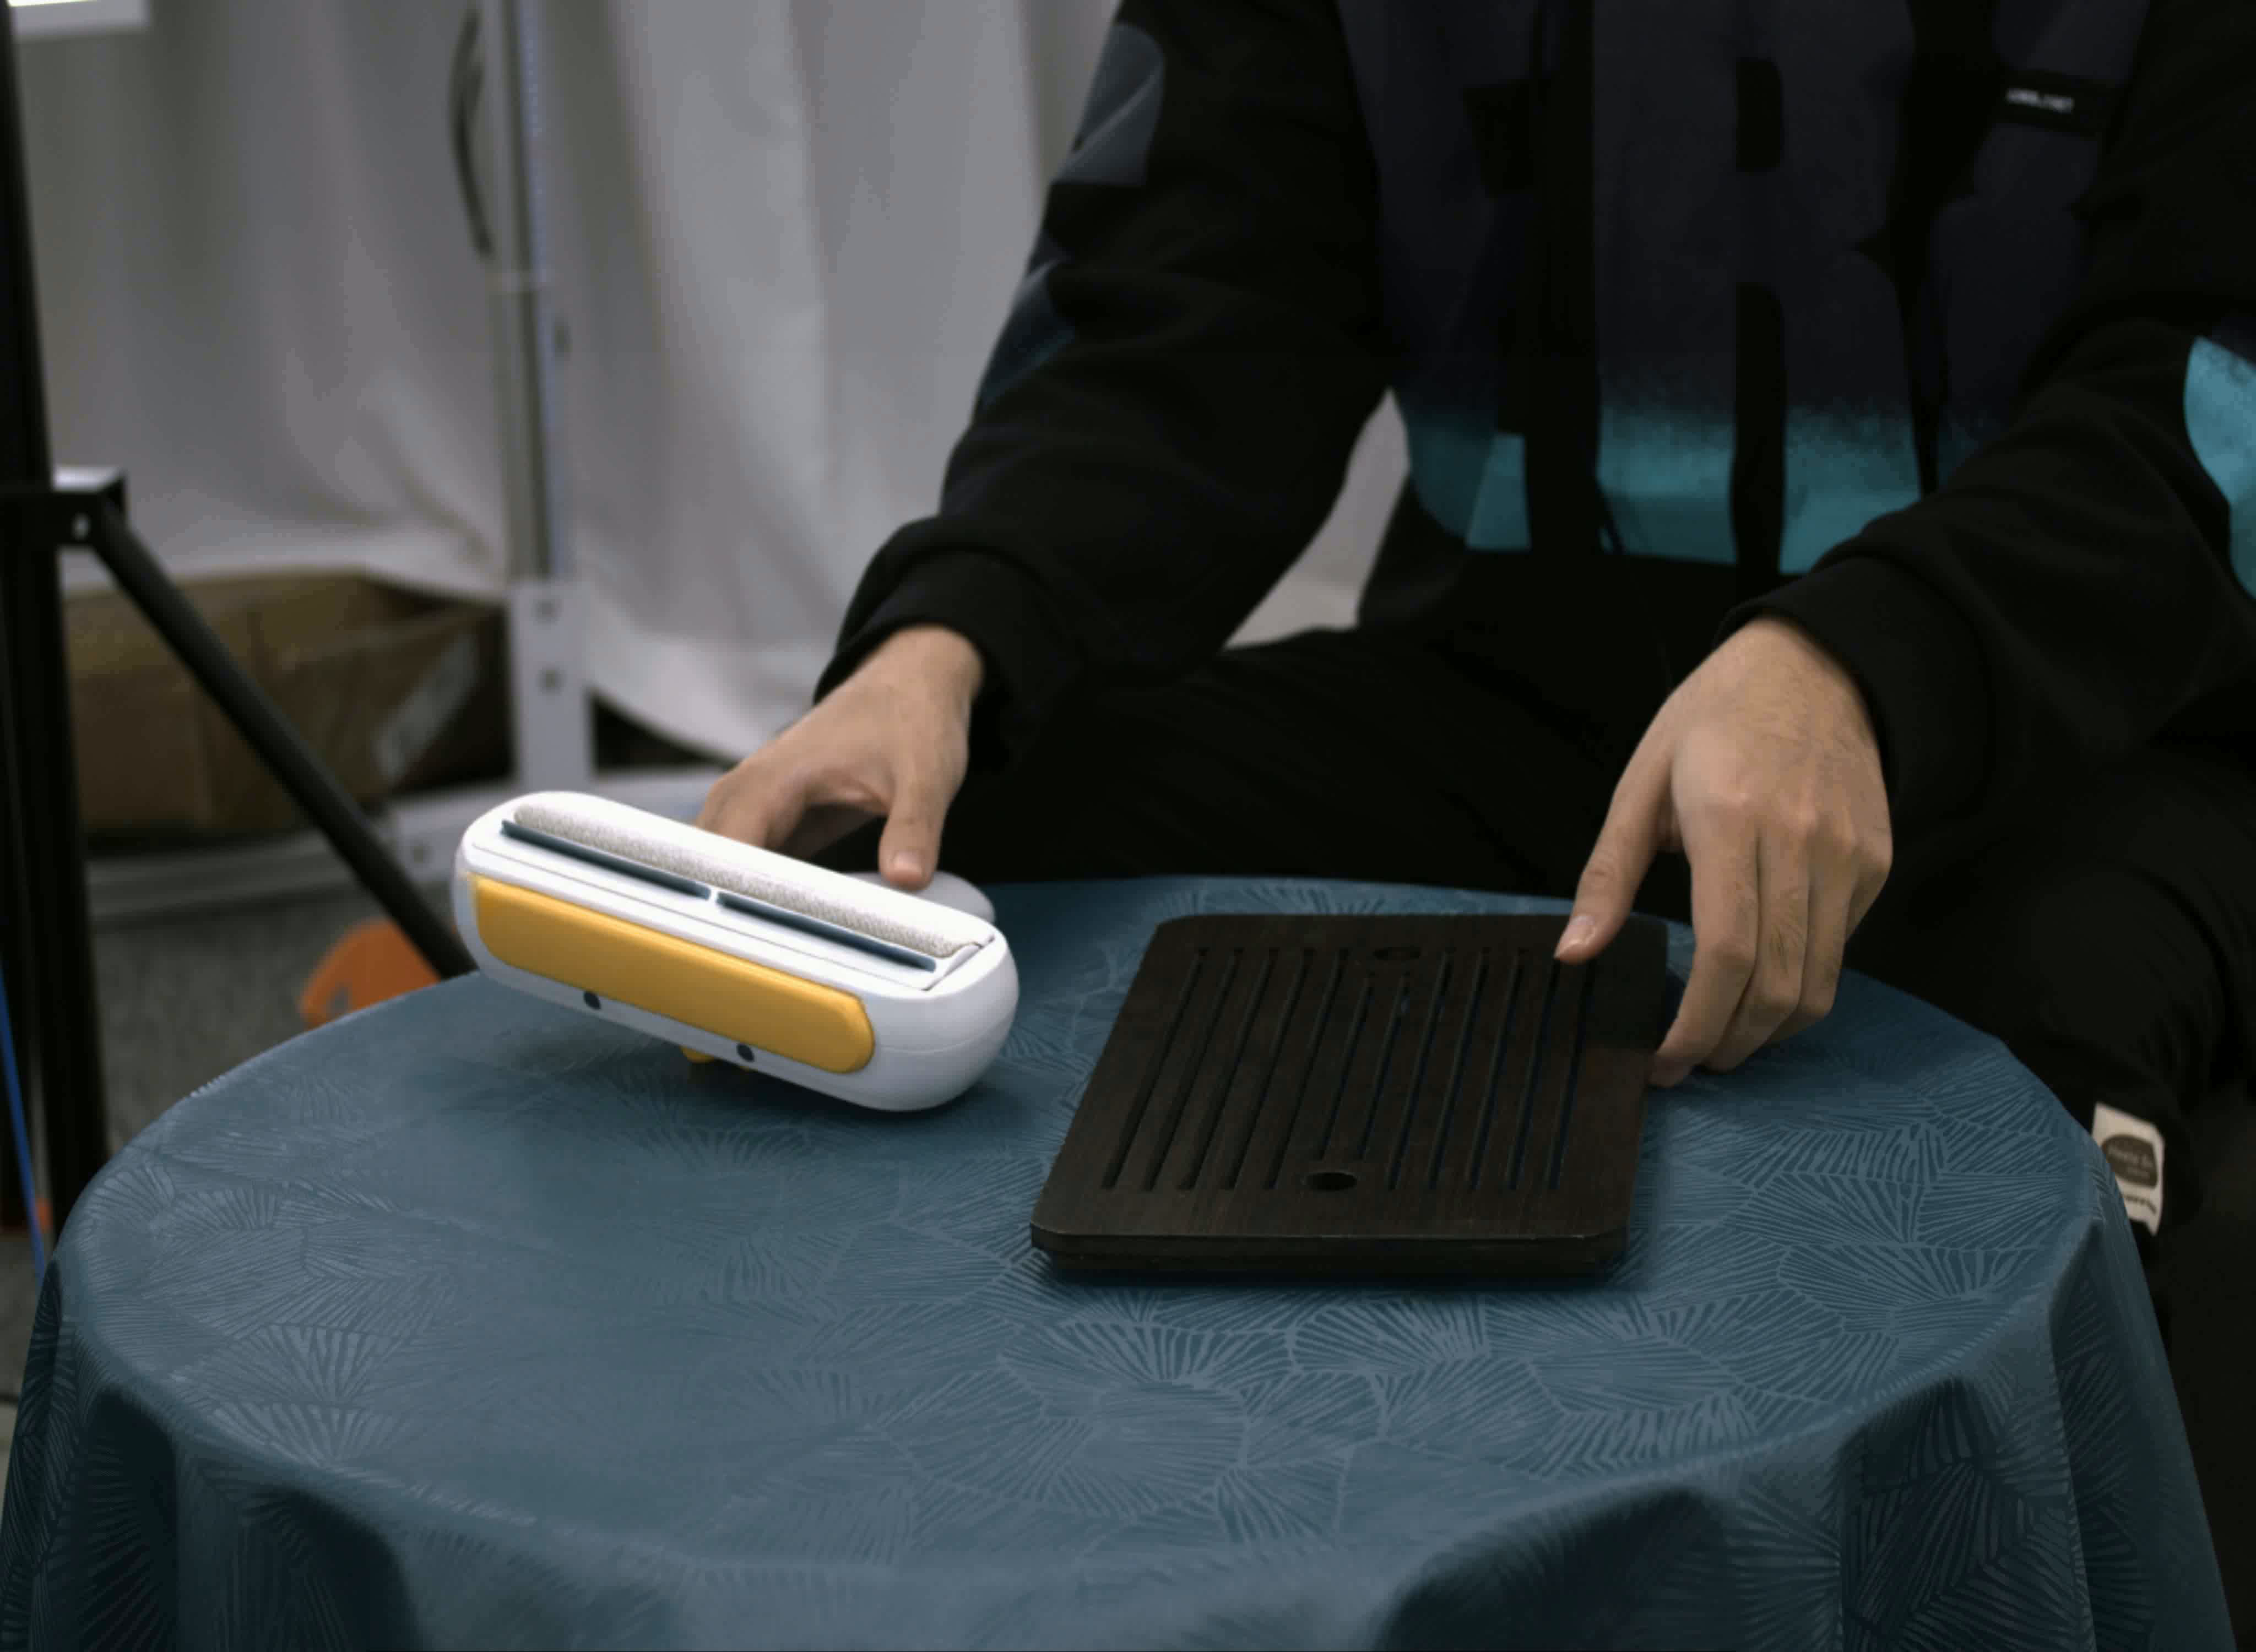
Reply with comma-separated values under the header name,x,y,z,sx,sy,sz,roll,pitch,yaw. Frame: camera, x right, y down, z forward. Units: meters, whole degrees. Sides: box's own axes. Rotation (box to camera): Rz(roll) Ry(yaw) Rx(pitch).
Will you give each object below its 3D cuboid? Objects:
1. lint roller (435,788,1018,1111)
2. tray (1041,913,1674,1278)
name,x,y,z,sx,sy,sz,roll,pitch,yaw
lint roller,-0.100,0.031,1.724,0.196,0.074,0.188,14,20,31
tray,0.078,0.079,1.612,0.170,0.018,0.305,-1,16,9
